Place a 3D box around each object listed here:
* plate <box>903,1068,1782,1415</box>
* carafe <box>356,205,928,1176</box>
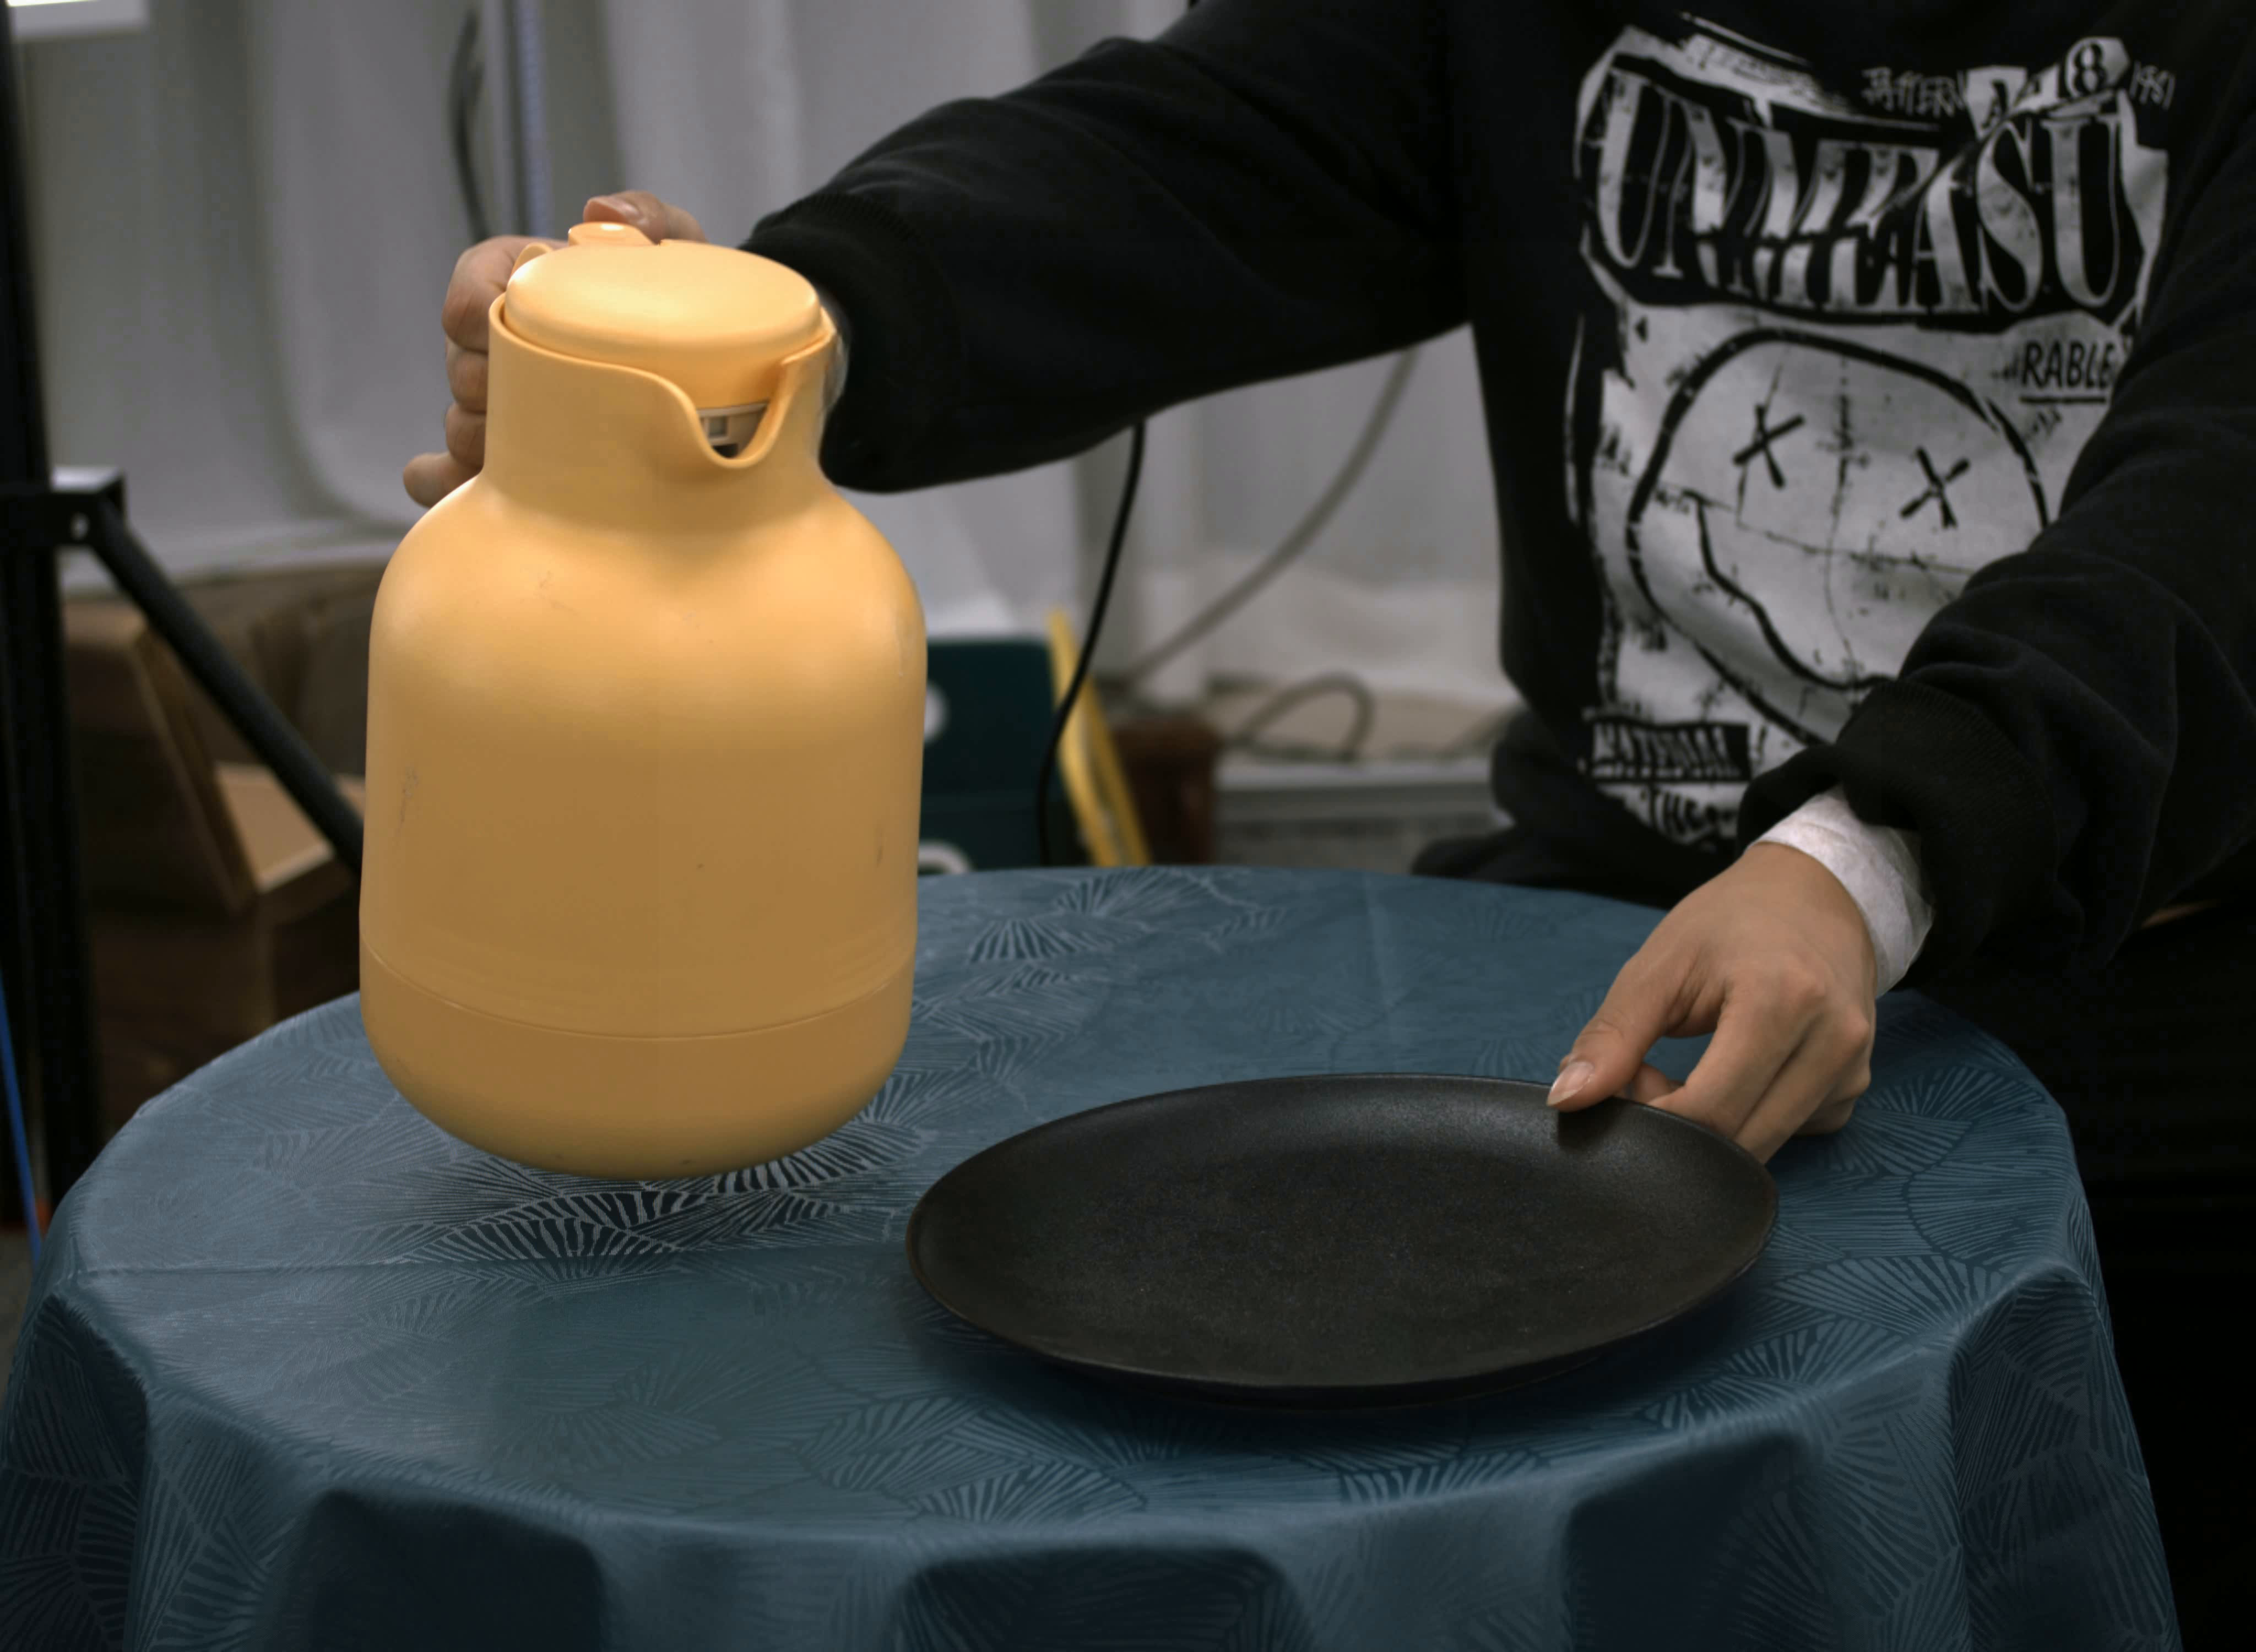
[{"bbox_3d":[0.059,0.117,1.463,0.243,0.023,0.246,-4,17,0],"label":"plate"},{"bbox_3d":[-0.143,-0.048,1.556,0.160,0.260,0.206,-2,25,-19],"label":"carafe"}]
